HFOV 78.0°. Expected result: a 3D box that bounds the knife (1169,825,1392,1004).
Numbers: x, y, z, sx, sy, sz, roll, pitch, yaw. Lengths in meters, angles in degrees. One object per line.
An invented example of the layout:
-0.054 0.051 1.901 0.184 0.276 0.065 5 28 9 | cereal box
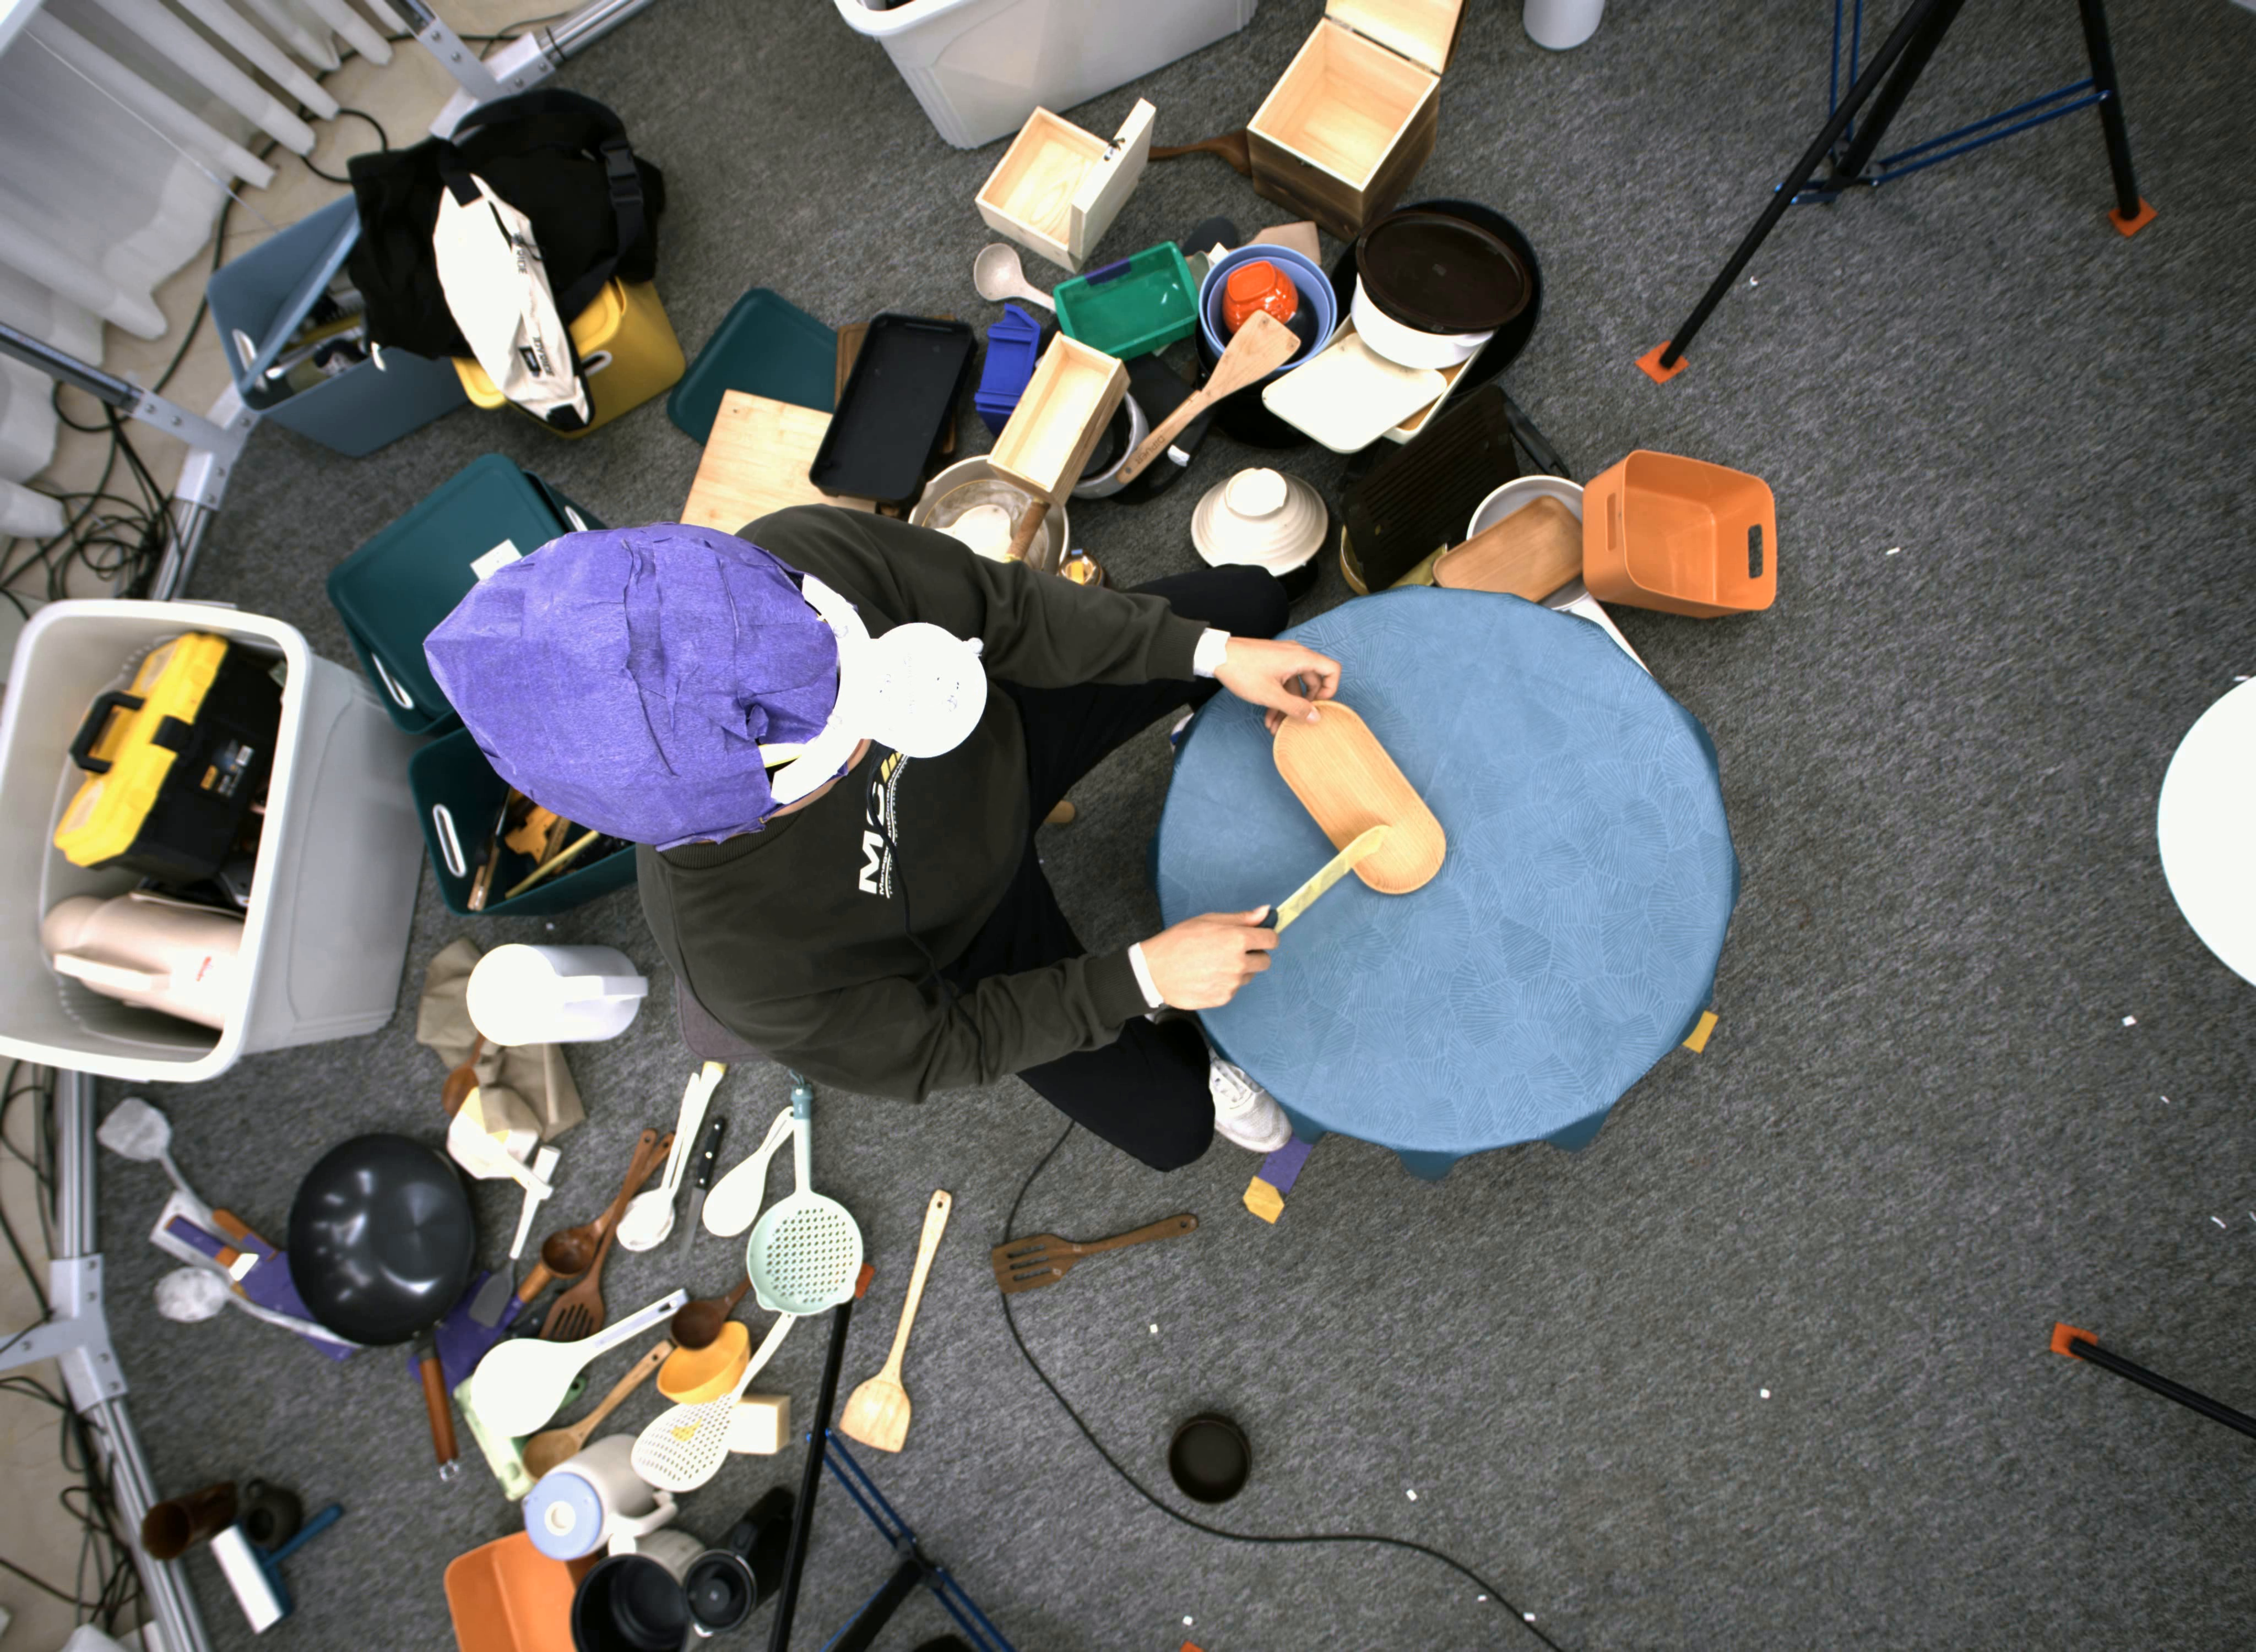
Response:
0.158 0.087 1.399 0.288 0.082 0.027 -37 66 -7 | knife

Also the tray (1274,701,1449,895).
0.242 -0.030 1.427 0.103 0.020 0.232 -36 102 15 | tray
